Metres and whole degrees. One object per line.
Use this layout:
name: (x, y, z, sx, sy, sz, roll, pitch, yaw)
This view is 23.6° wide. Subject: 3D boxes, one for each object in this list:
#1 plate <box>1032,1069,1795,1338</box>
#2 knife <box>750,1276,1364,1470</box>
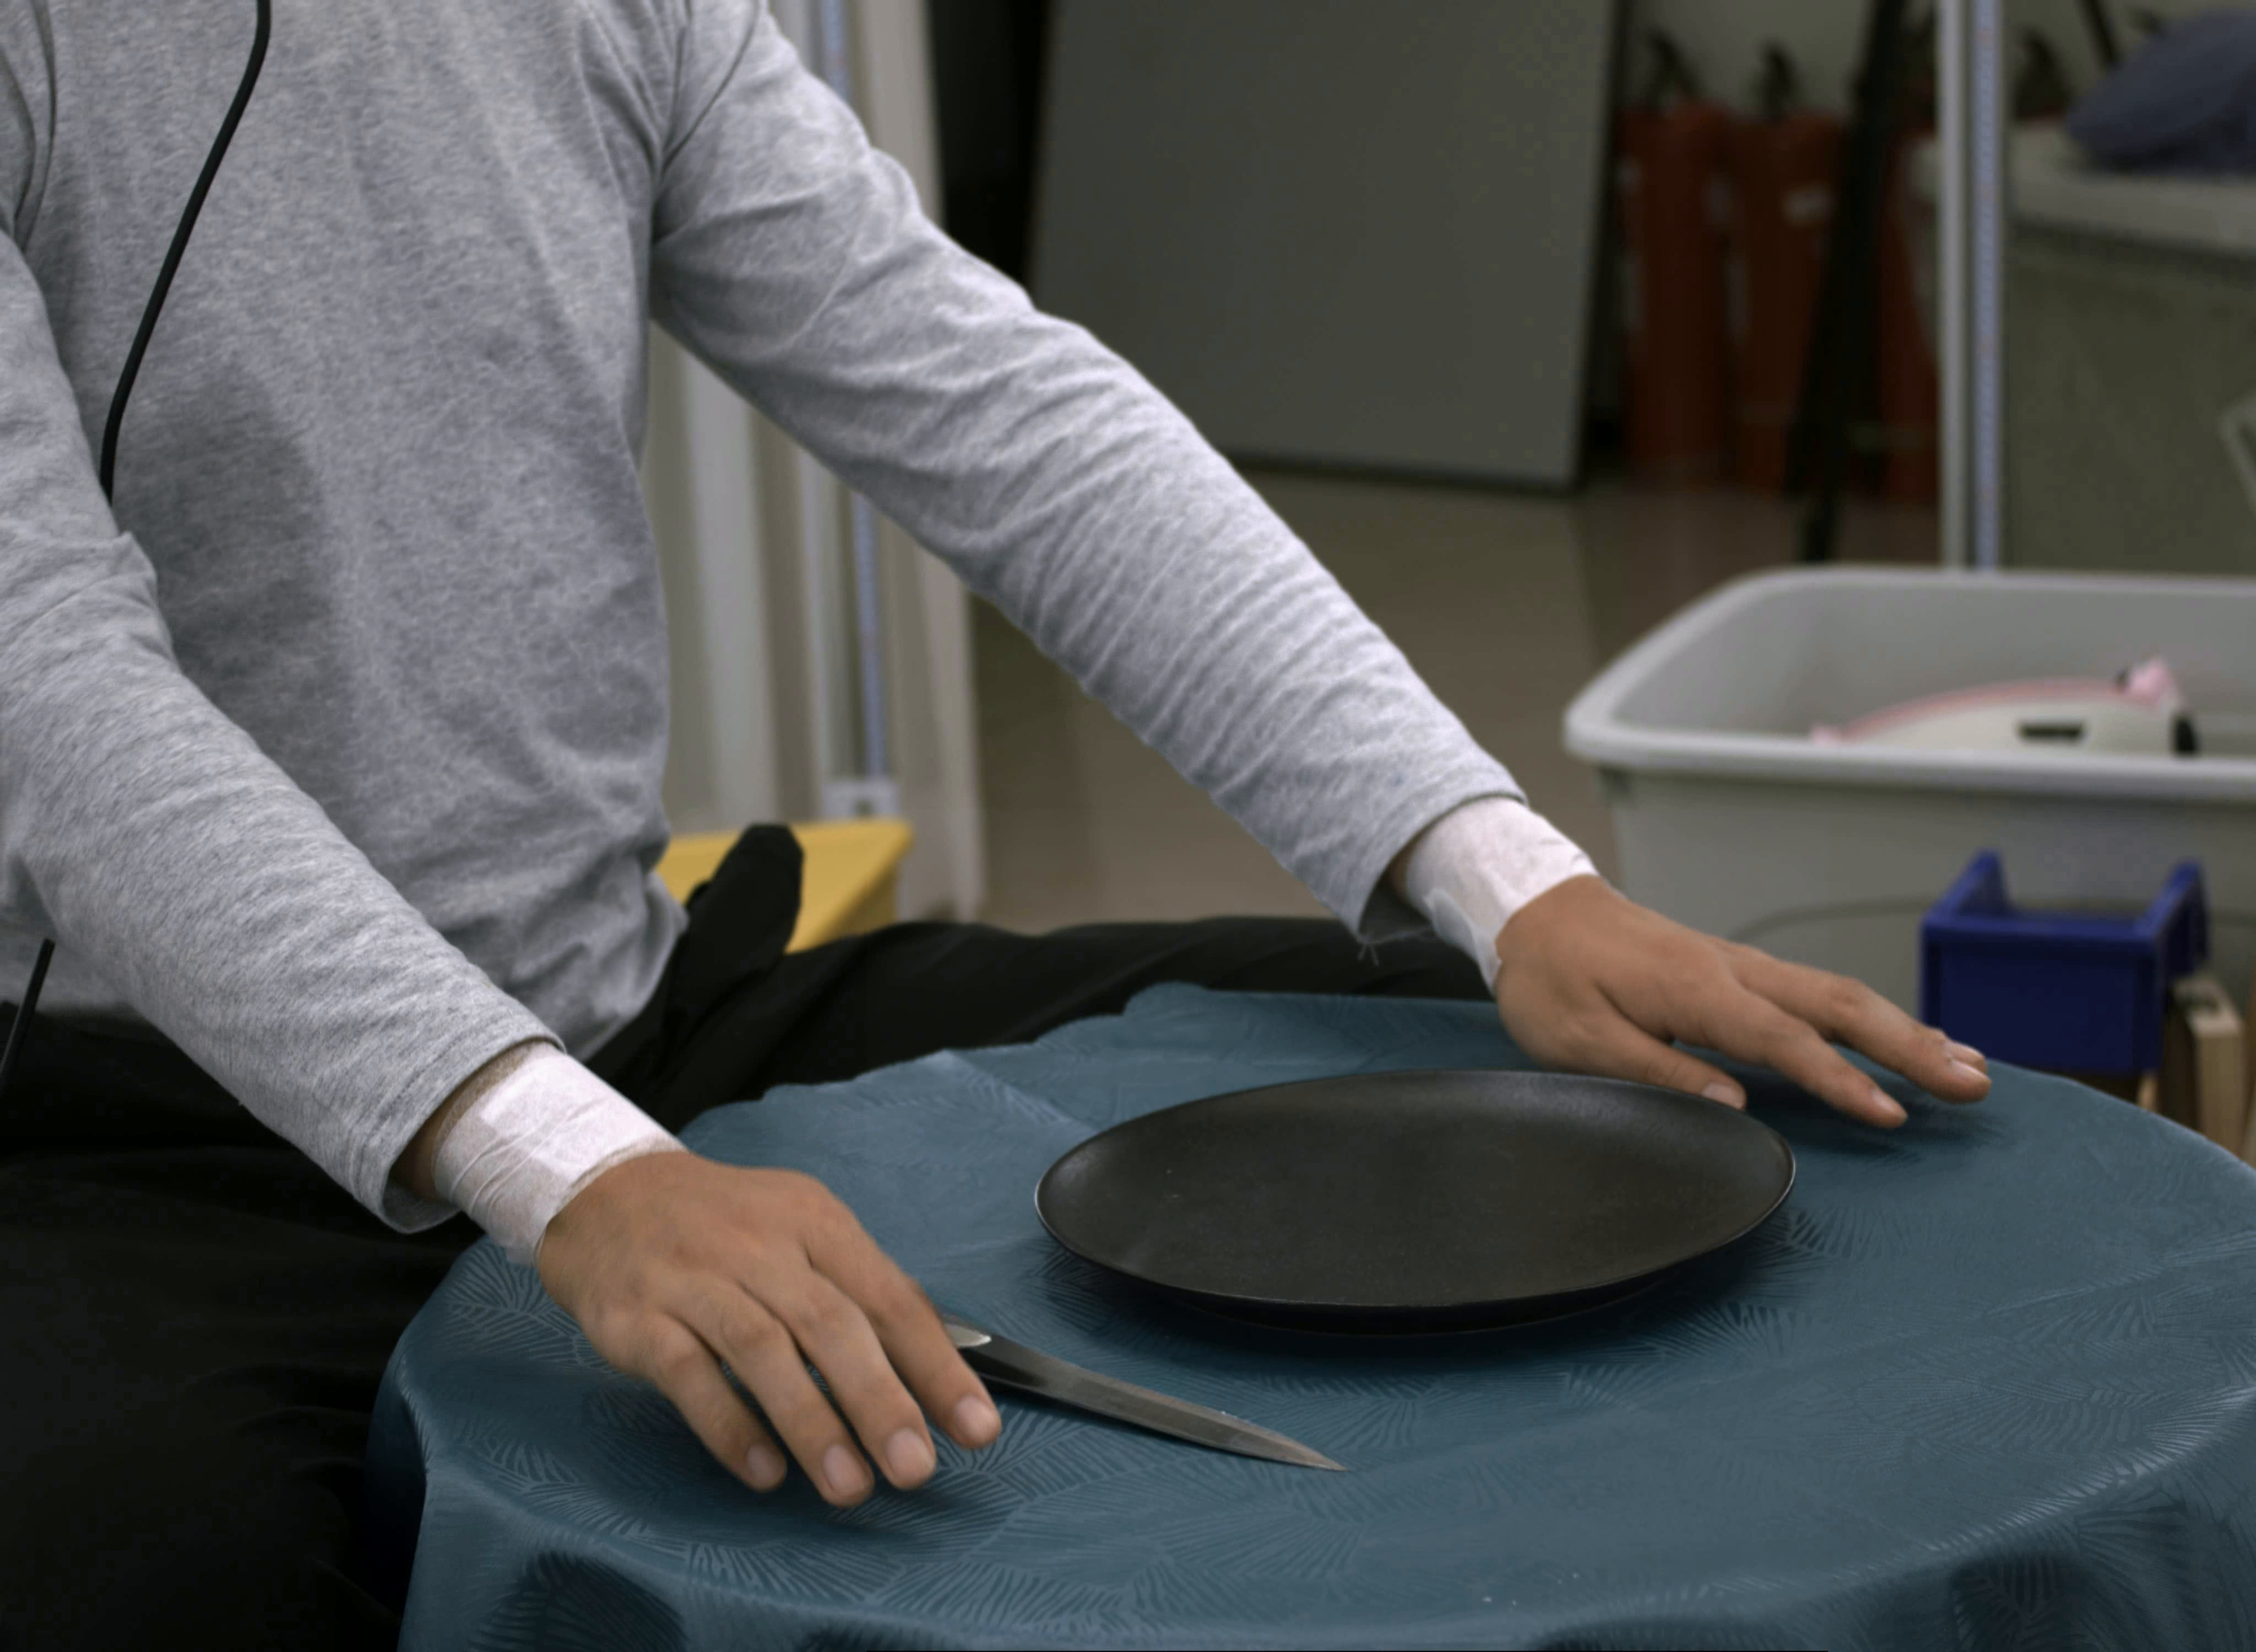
plate: (0.090, 0.121, 1.700, 0.241, 0.024, 0.245, -4, 13, 0)
knife: (-0.026, 0.163, 1.586, 0.240, 0.016, 0.024, 11, 19, 40)
